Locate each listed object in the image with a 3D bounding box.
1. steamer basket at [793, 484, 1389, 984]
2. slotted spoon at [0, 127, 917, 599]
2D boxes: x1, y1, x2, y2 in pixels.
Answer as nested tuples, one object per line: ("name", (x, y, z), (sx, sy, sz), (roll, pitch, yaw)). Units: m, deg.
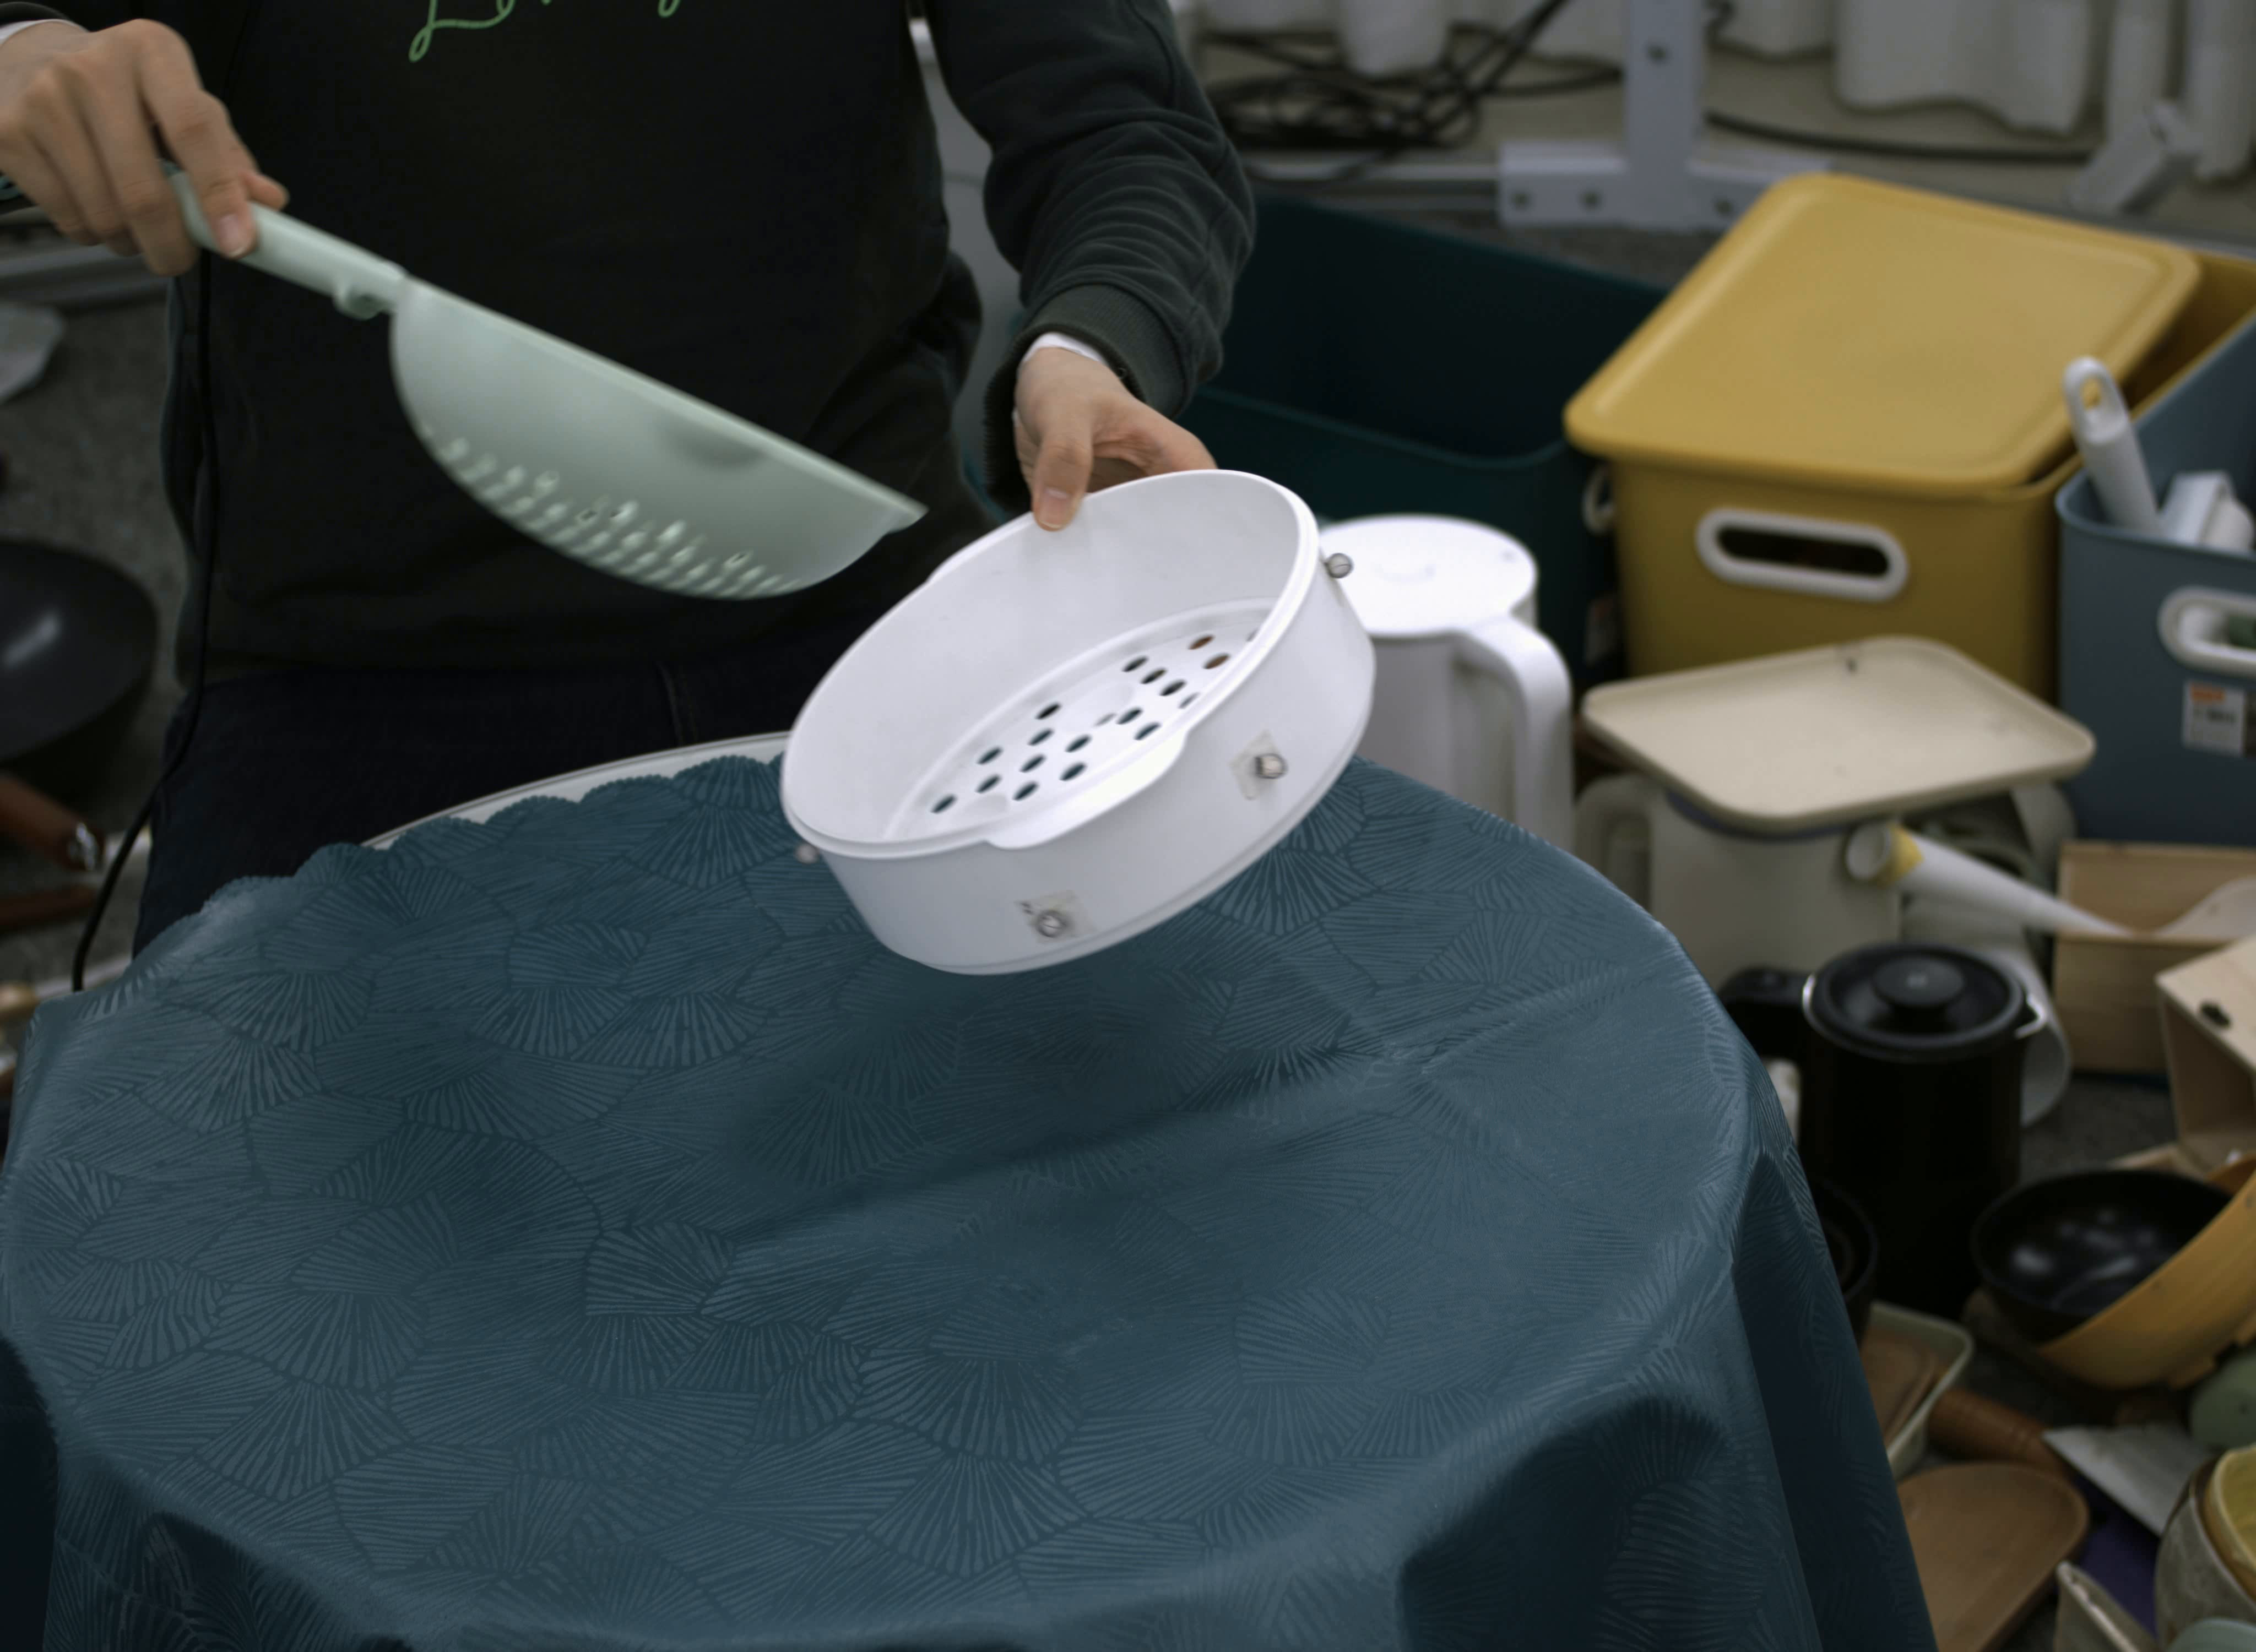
("steamer basket", (-0.009, -0.029, 1.869), (0.201, 0.068, 0.233), (-28, 26, 3))
("slotted spoon", (-0.231, -0.160, 1.790), (0.359, 0.075, 0.169), (34, 4, 26))
